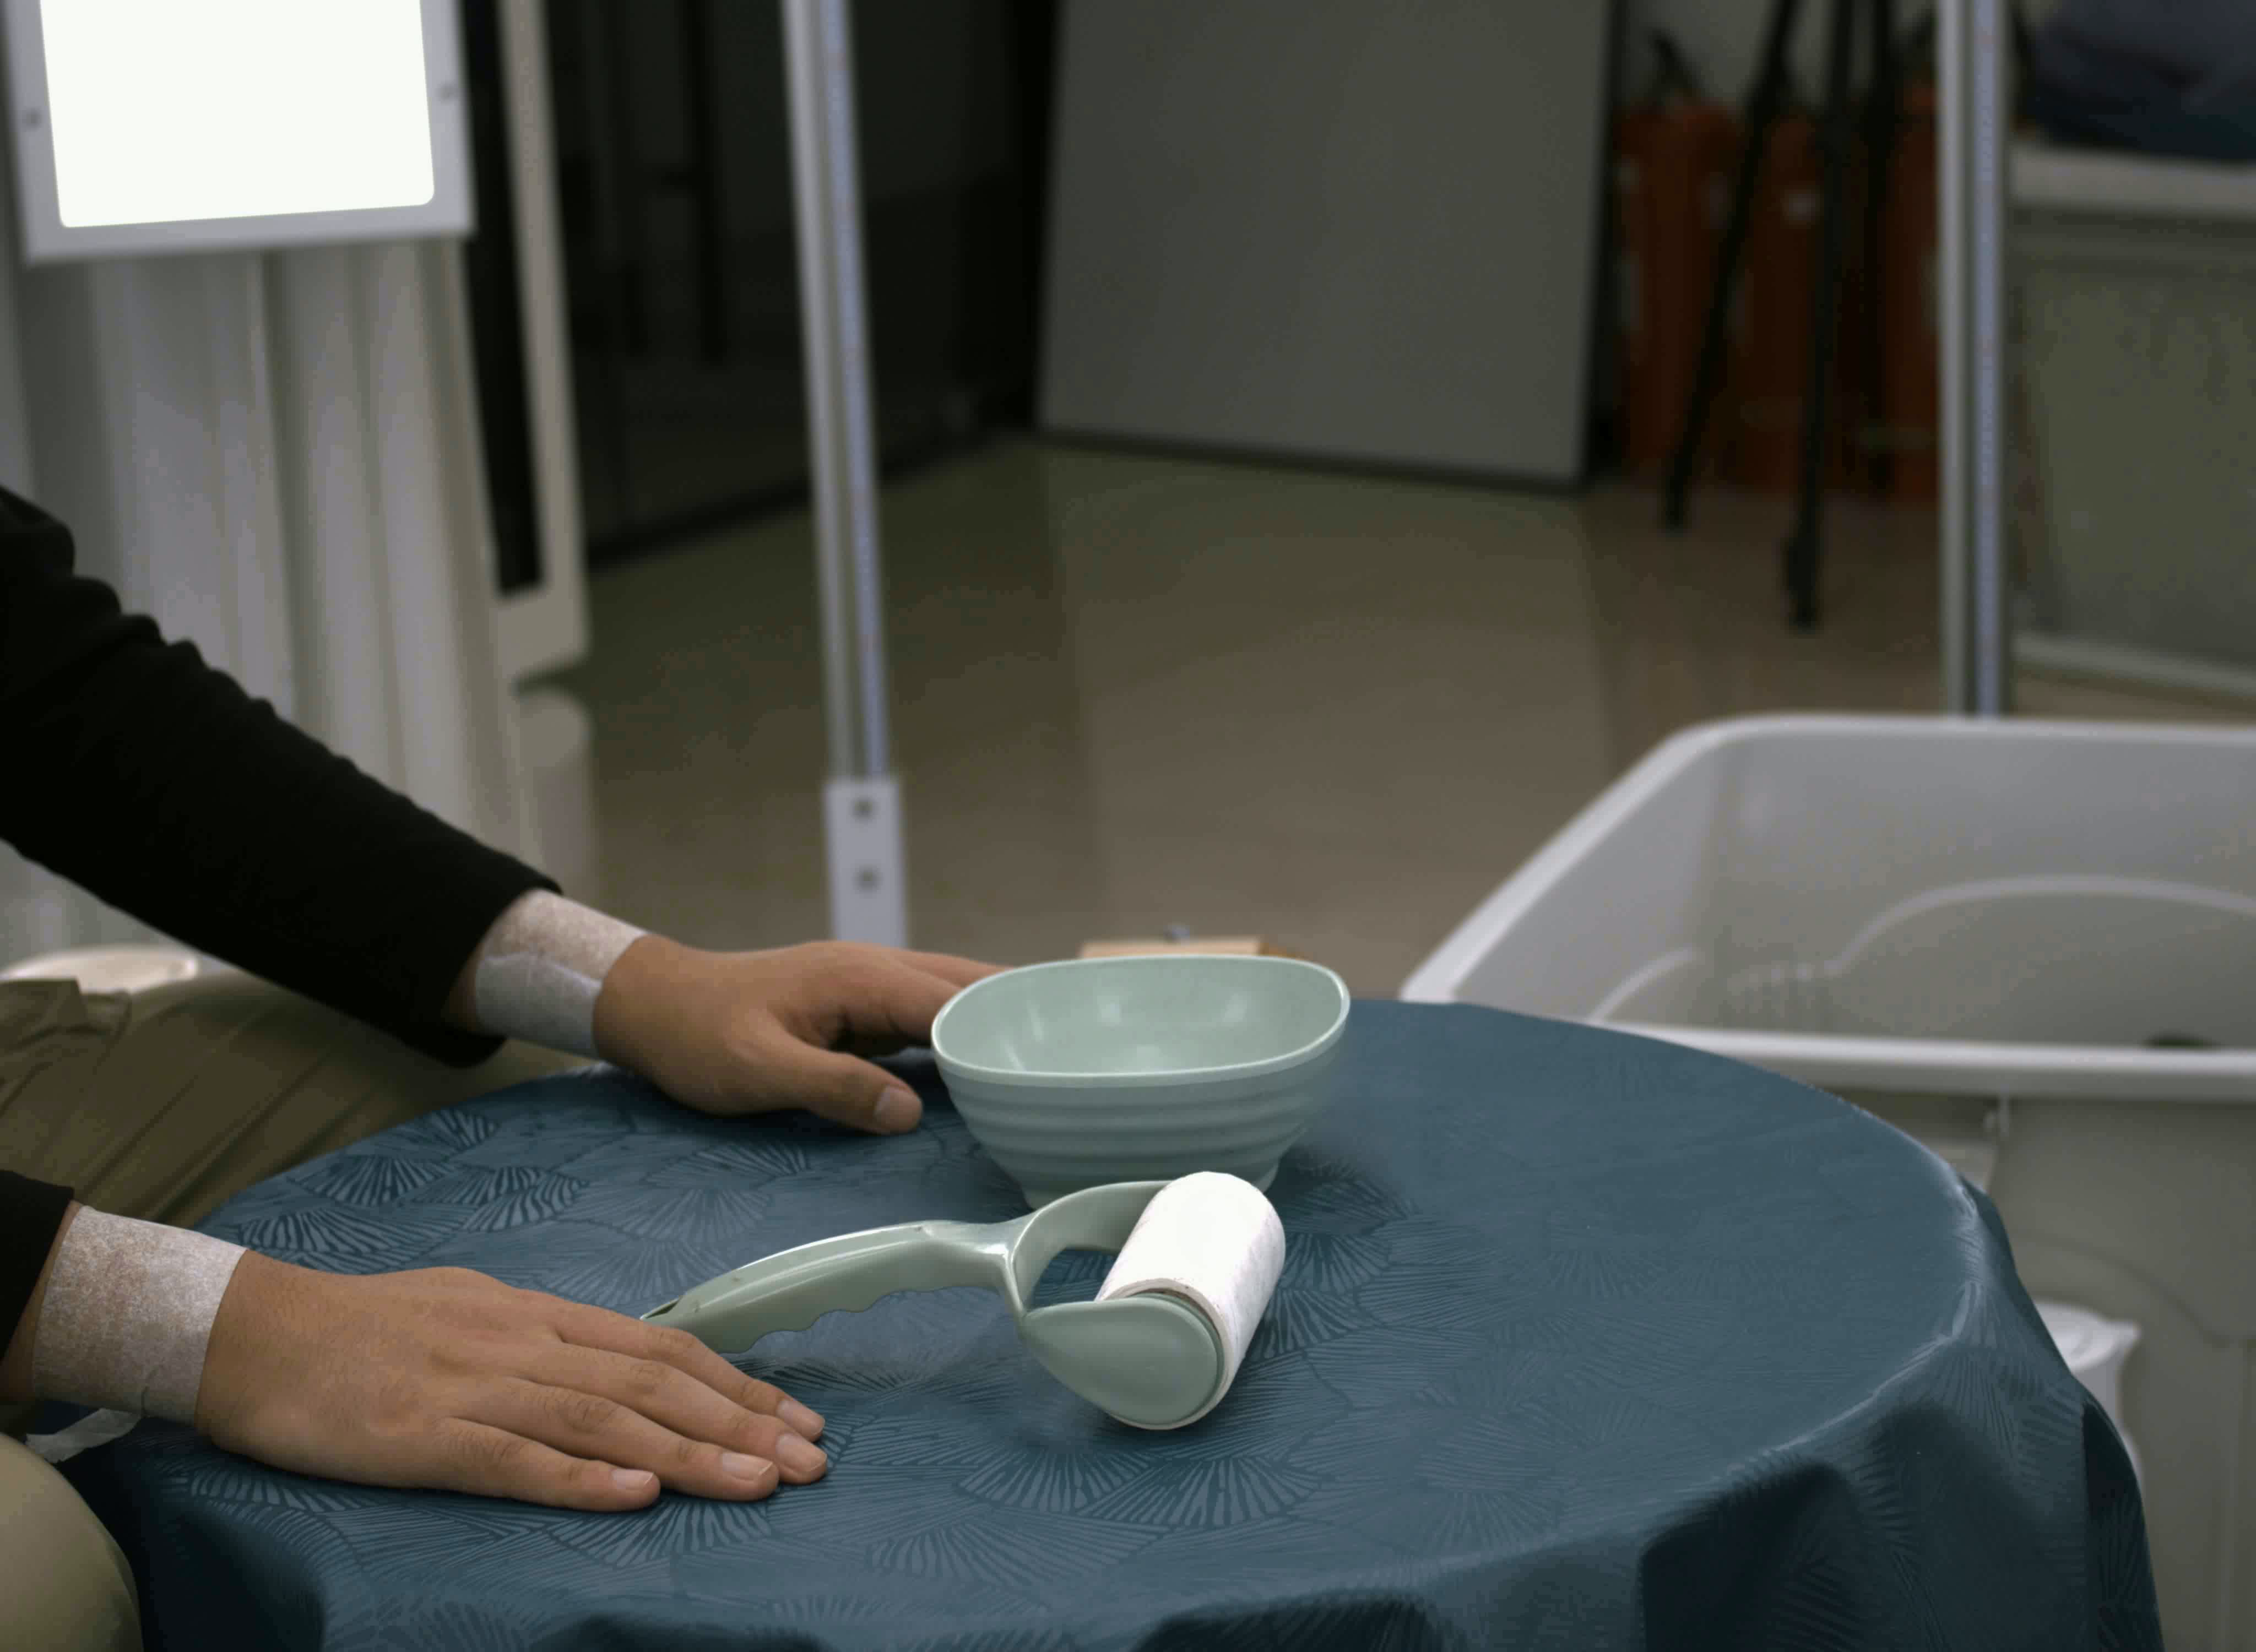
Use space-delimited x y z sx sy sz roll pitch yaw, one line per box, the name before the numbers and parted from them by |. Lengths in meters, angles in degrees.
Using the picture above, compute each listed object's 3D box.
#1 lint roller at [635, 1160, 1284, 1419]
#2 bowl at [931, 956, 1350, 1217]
lint roller | -0.053 0.140 1.615 0.196 0.049 0.116 -2 15 12
bowl | 0.005 0.090 1.778 0.149 0.059 0.152 -3 15 0
